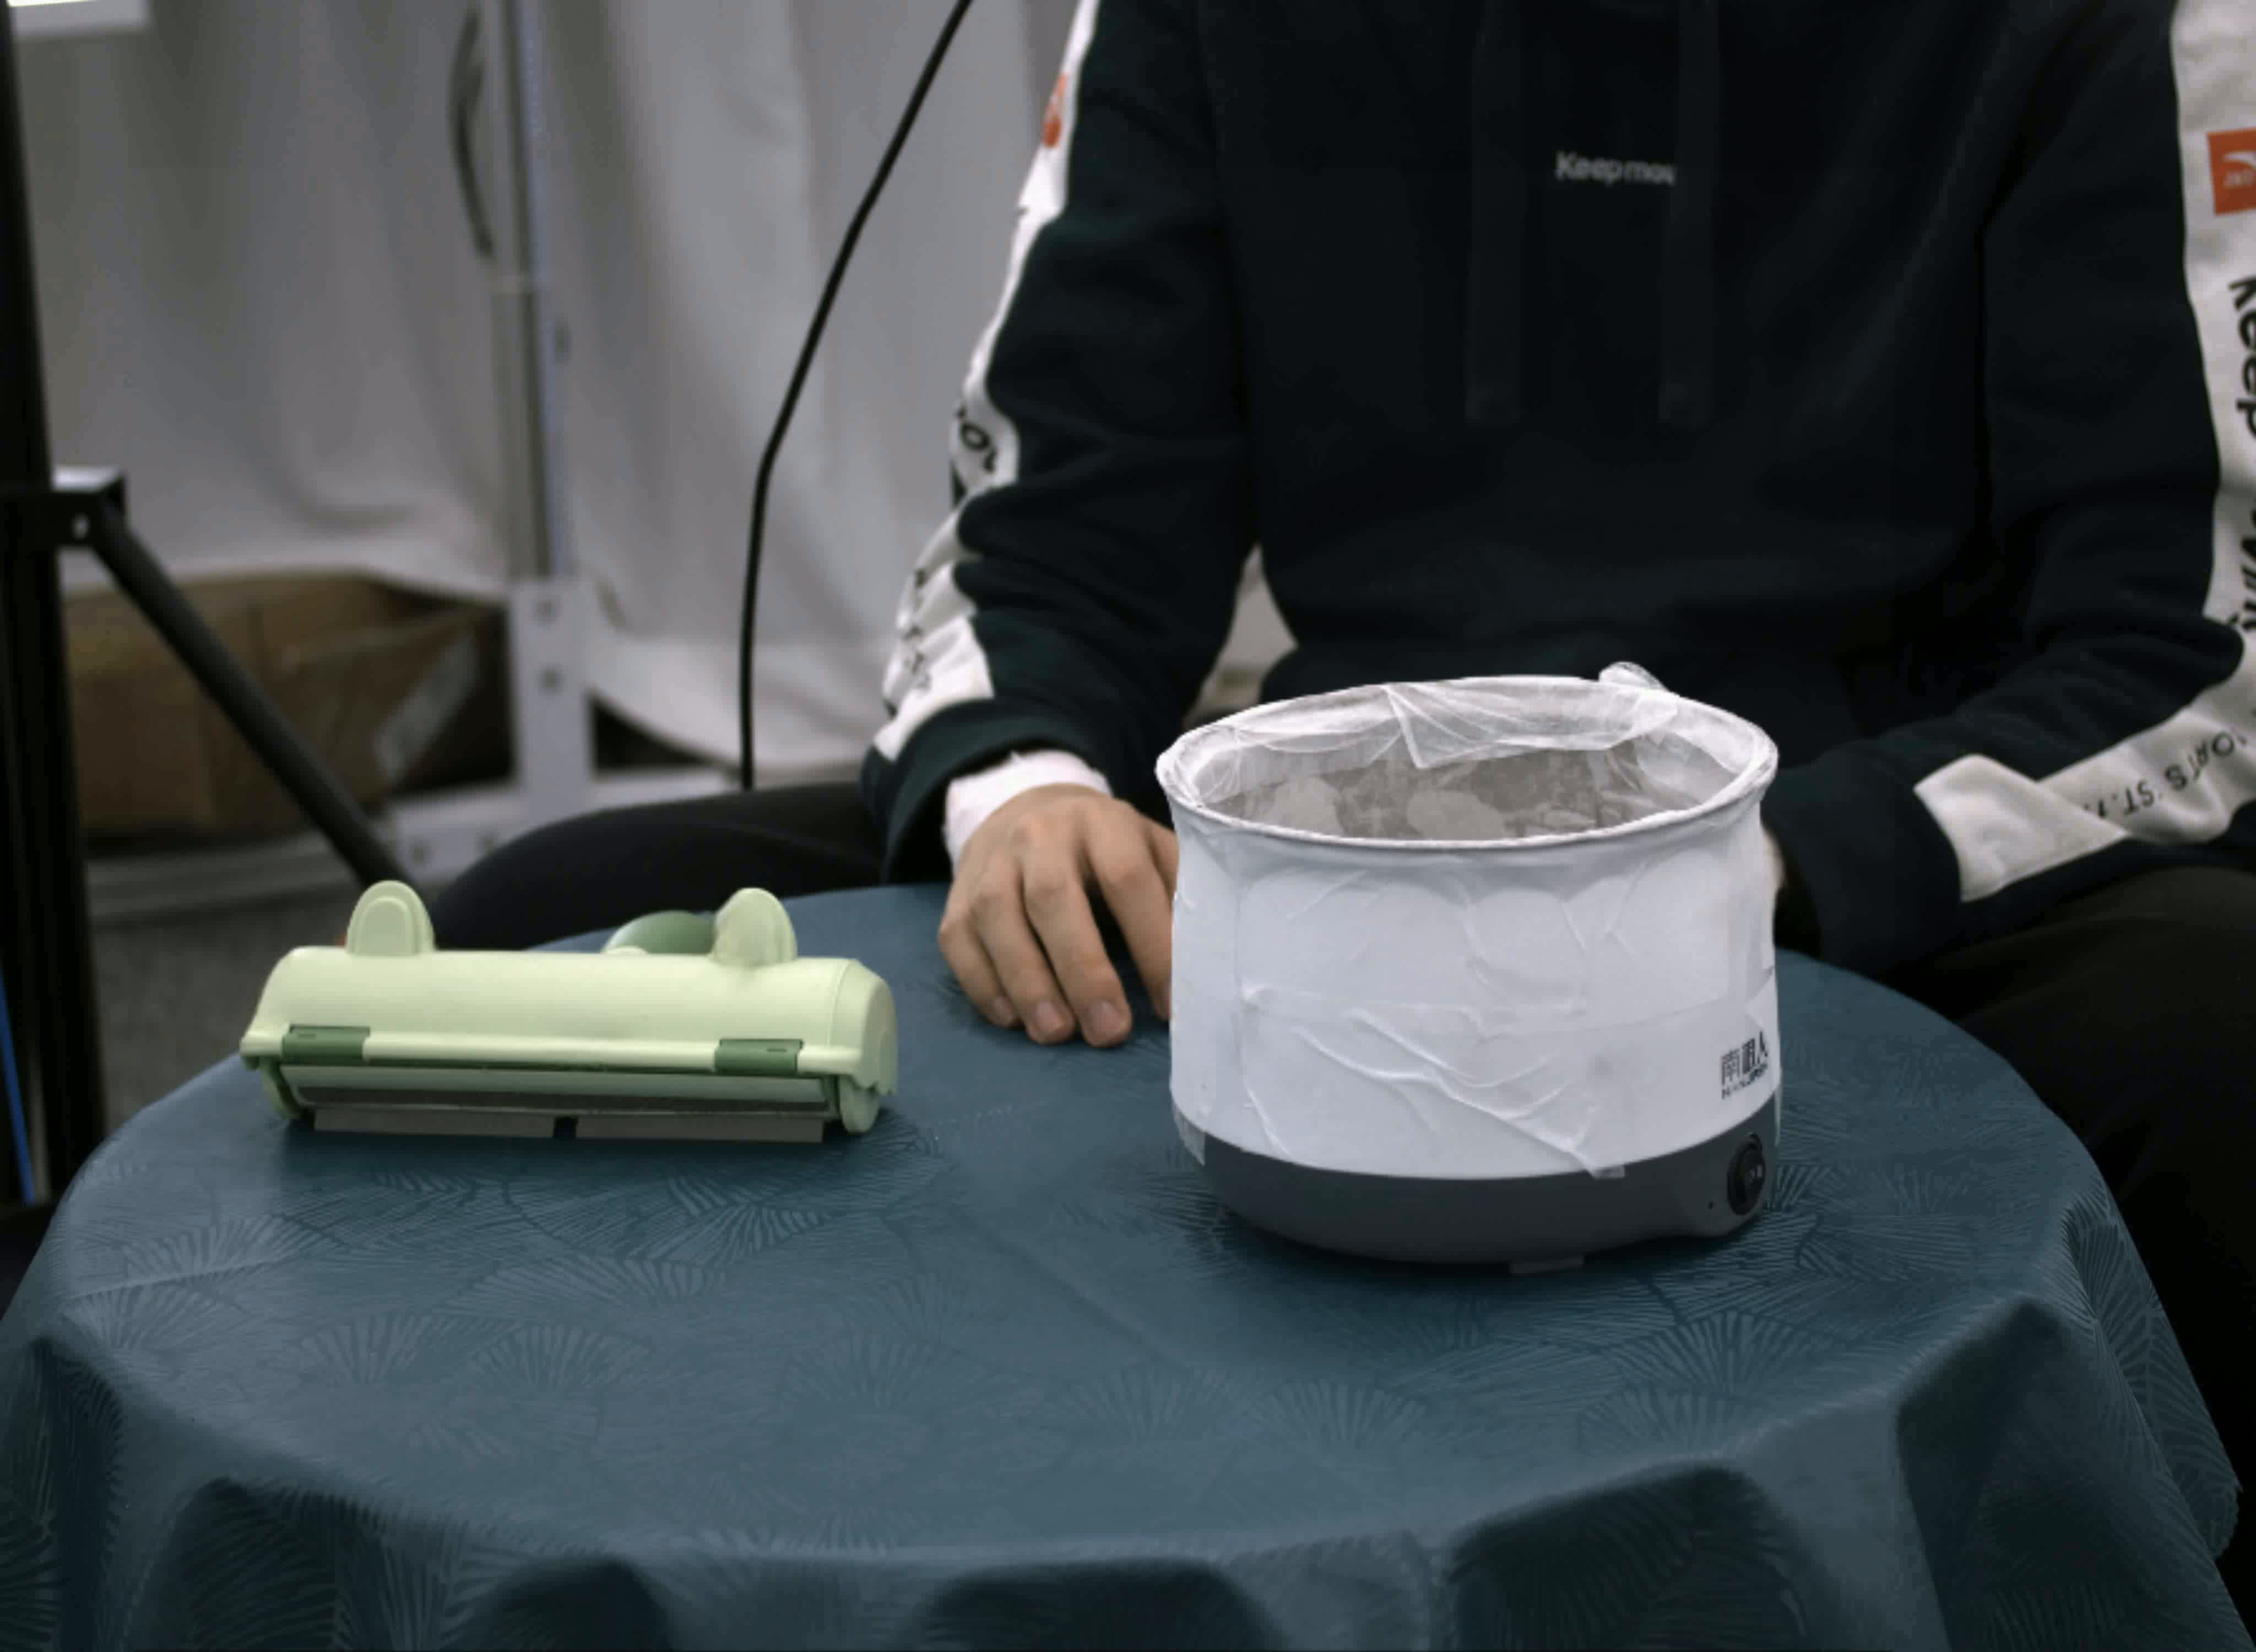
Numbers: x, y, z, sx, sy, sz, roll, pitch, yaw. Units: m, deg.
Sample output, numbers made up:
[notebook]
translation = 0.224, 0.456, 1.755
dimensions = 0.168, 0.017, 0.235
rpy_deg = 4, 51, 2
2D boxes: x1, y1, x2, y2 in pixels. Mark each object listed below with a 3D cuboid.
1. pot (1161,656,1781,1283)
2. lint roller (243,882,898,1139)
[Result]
[pot]
translation = 0.113, 0.035, 1.544
dimensions = 0.182, 0.136, 0.229
rpy_deg = 8, 20, 31
[lint roller]
translation = -0.160, 0.040, 1.688
dimensions = 0.200, 0.082, 0.182
rpy_deg = 0, 21, 13
